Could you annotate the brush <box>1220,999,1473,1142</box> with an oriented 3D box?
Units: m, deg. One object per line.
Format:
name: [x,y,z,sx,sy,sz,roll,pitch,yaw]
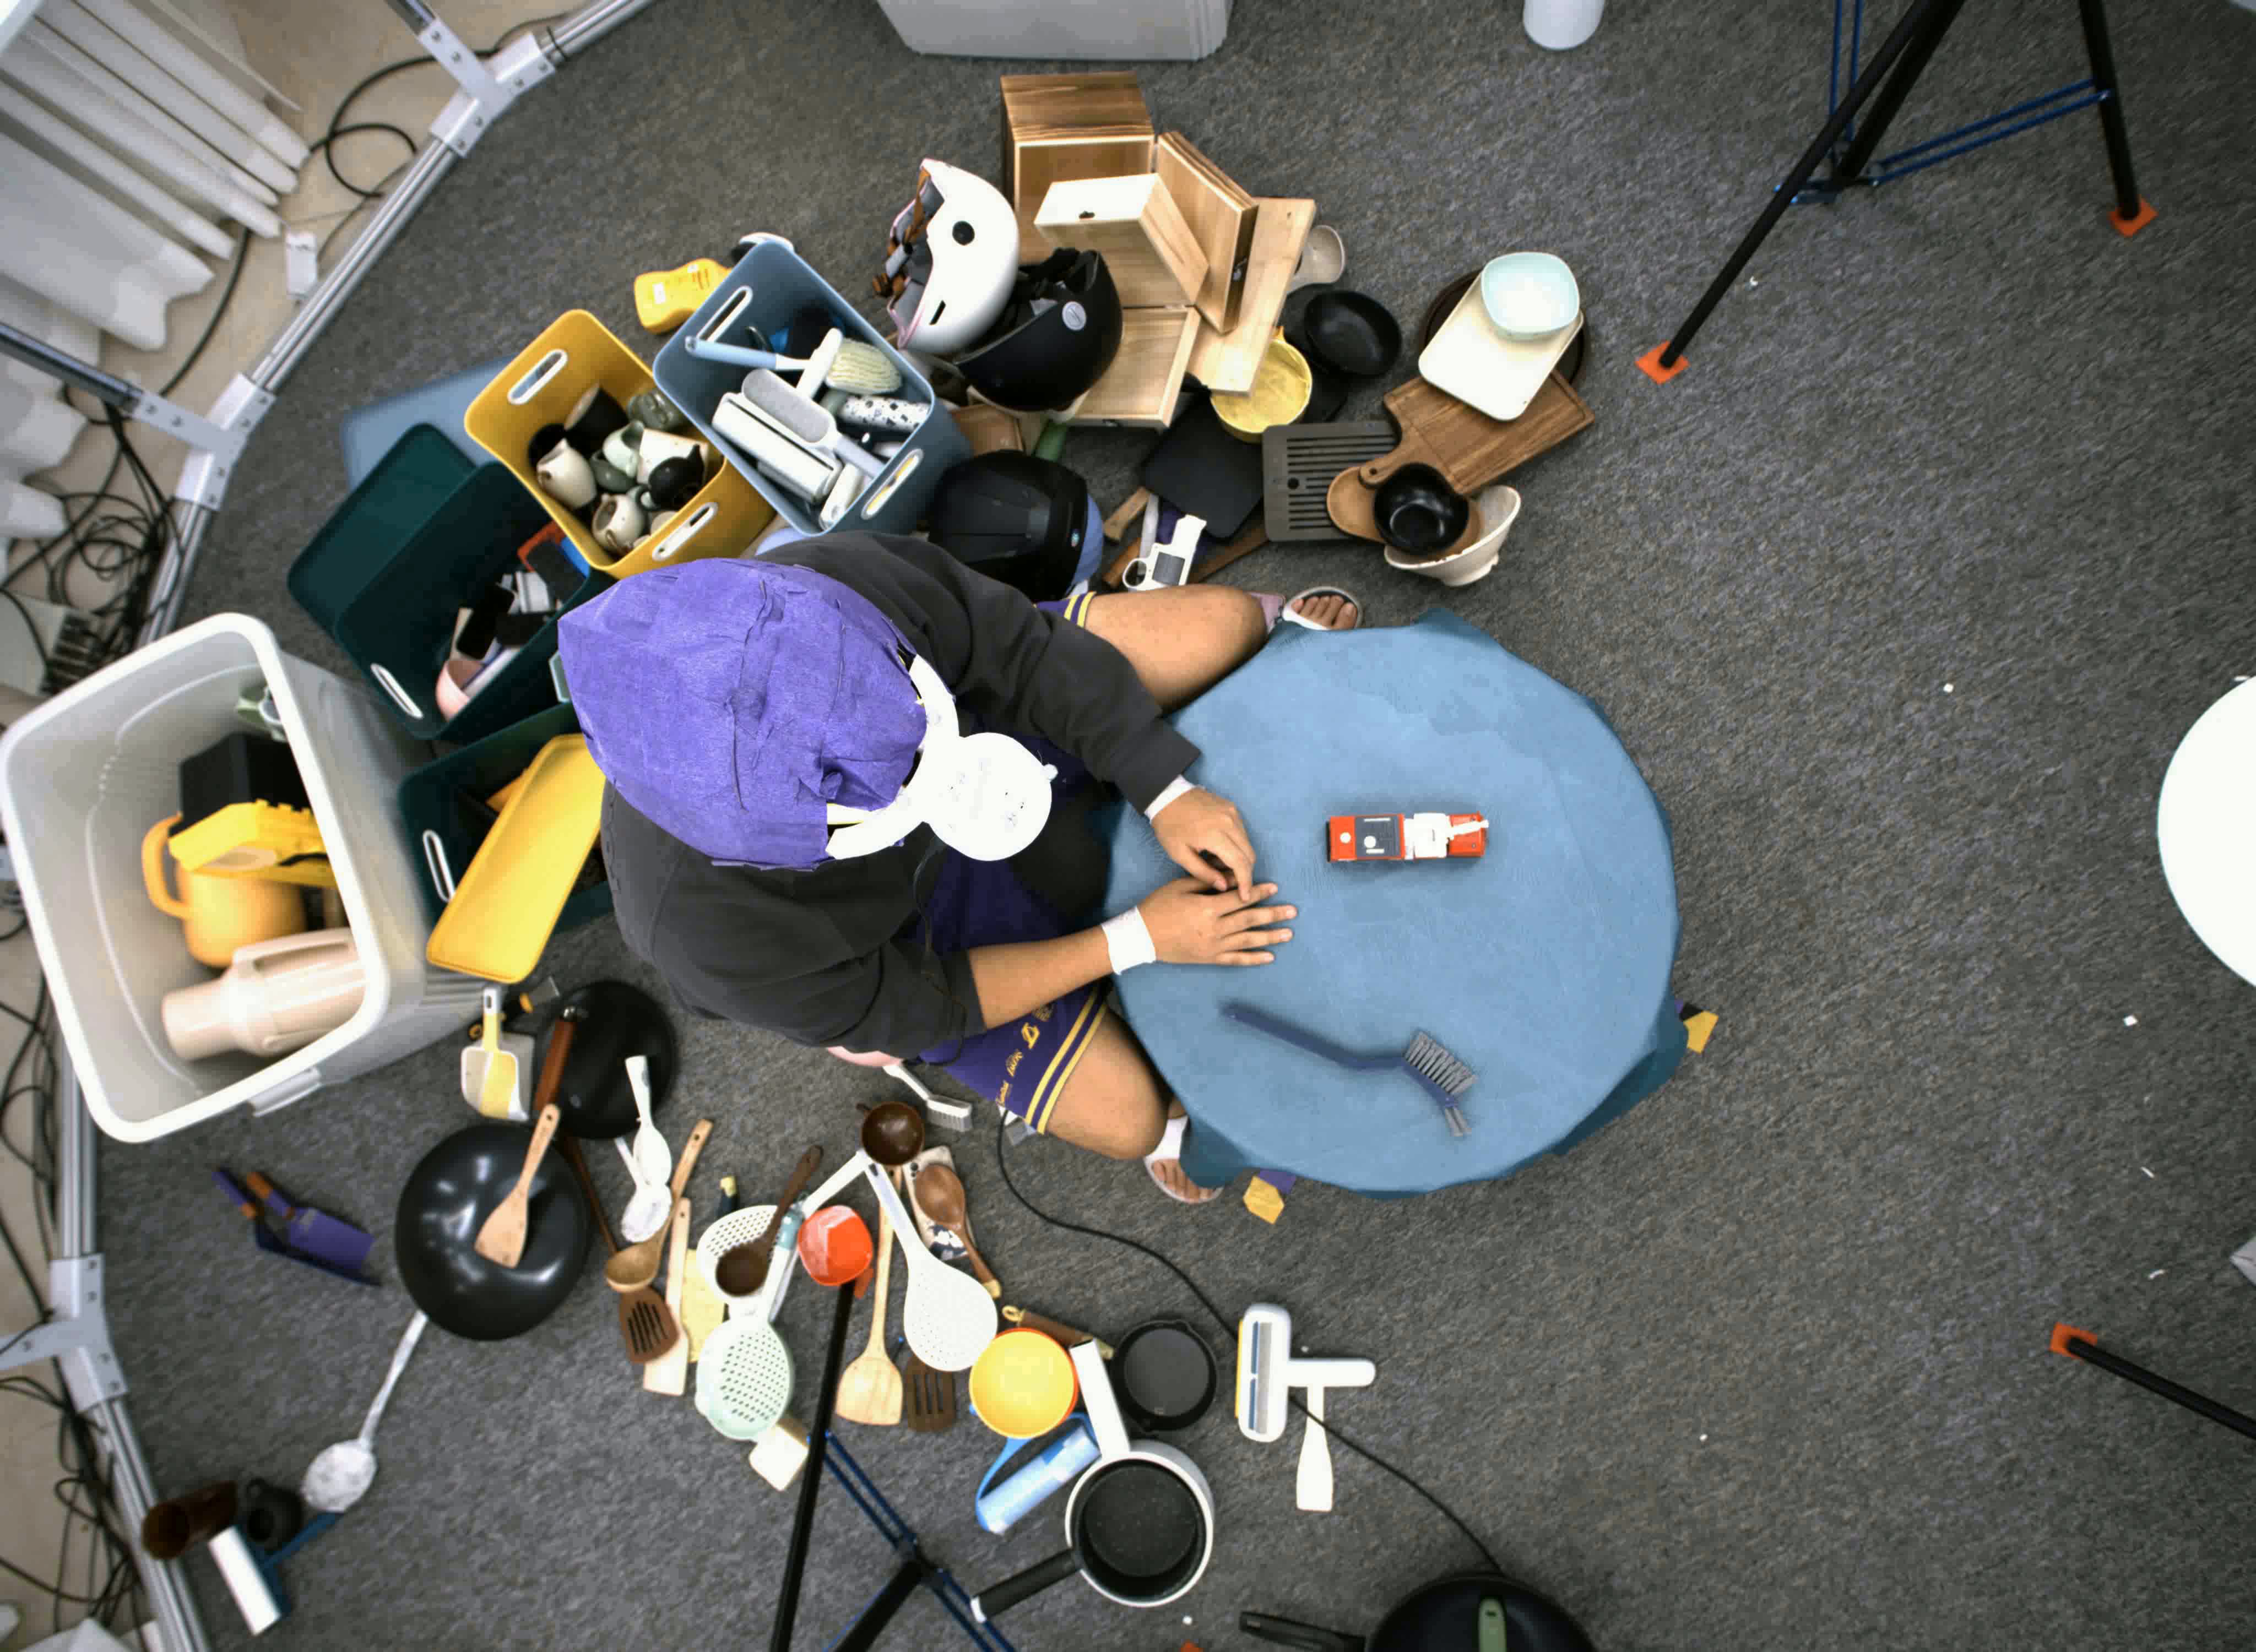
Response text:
brush: [0.222,0.246,1.442,0.273,0.033,0.095,14,90,10]

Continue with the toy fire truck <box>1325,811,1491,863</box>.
toy fire truck: [0.289,0.010,1.429,0.168,0.070,0.054,-3,85,11]
